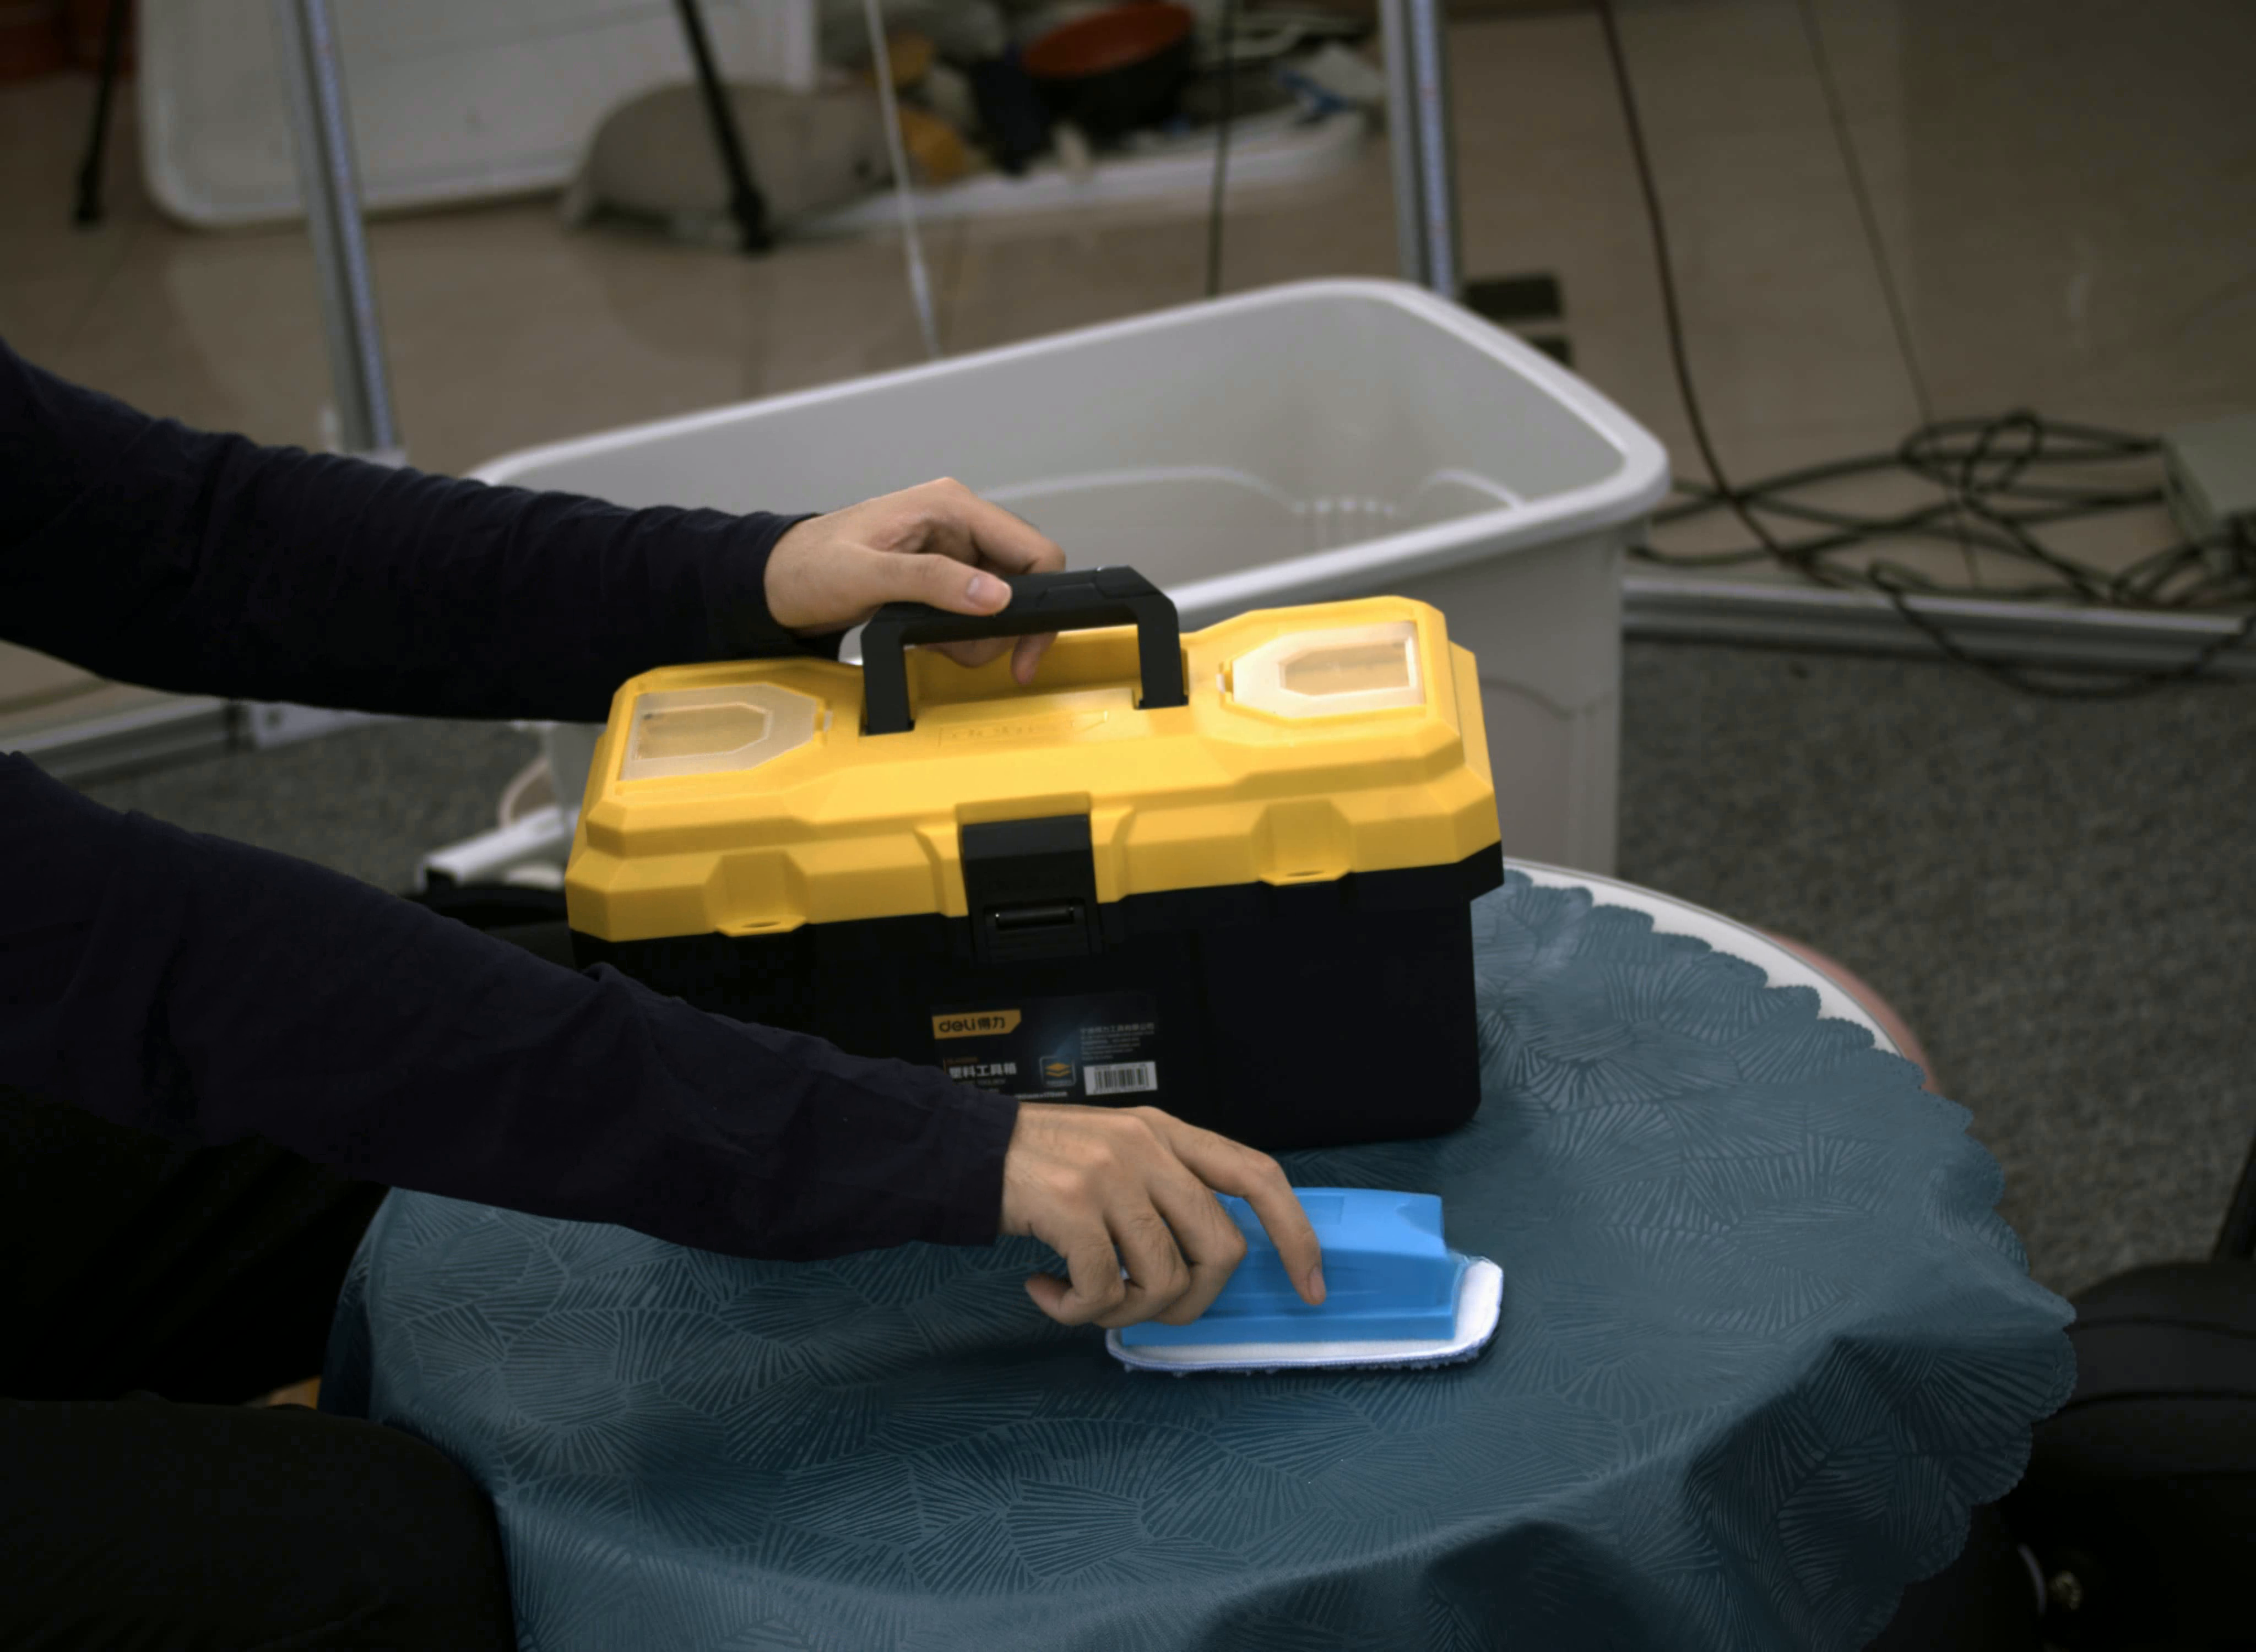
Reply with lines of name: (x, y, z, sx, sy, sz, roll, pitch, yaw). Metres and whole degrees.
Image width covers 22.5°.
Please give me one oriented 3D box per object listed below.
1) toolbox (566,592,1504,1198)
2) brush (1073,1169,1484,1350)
toolbox: (-0.032, 0.029, 2.183, 0.351, 0.175, 0.178, -5, 25, 2)
brush: (0.054, 0.154, 2.029, 0.143, 0.057, 0.083, 0, 22, 10)
